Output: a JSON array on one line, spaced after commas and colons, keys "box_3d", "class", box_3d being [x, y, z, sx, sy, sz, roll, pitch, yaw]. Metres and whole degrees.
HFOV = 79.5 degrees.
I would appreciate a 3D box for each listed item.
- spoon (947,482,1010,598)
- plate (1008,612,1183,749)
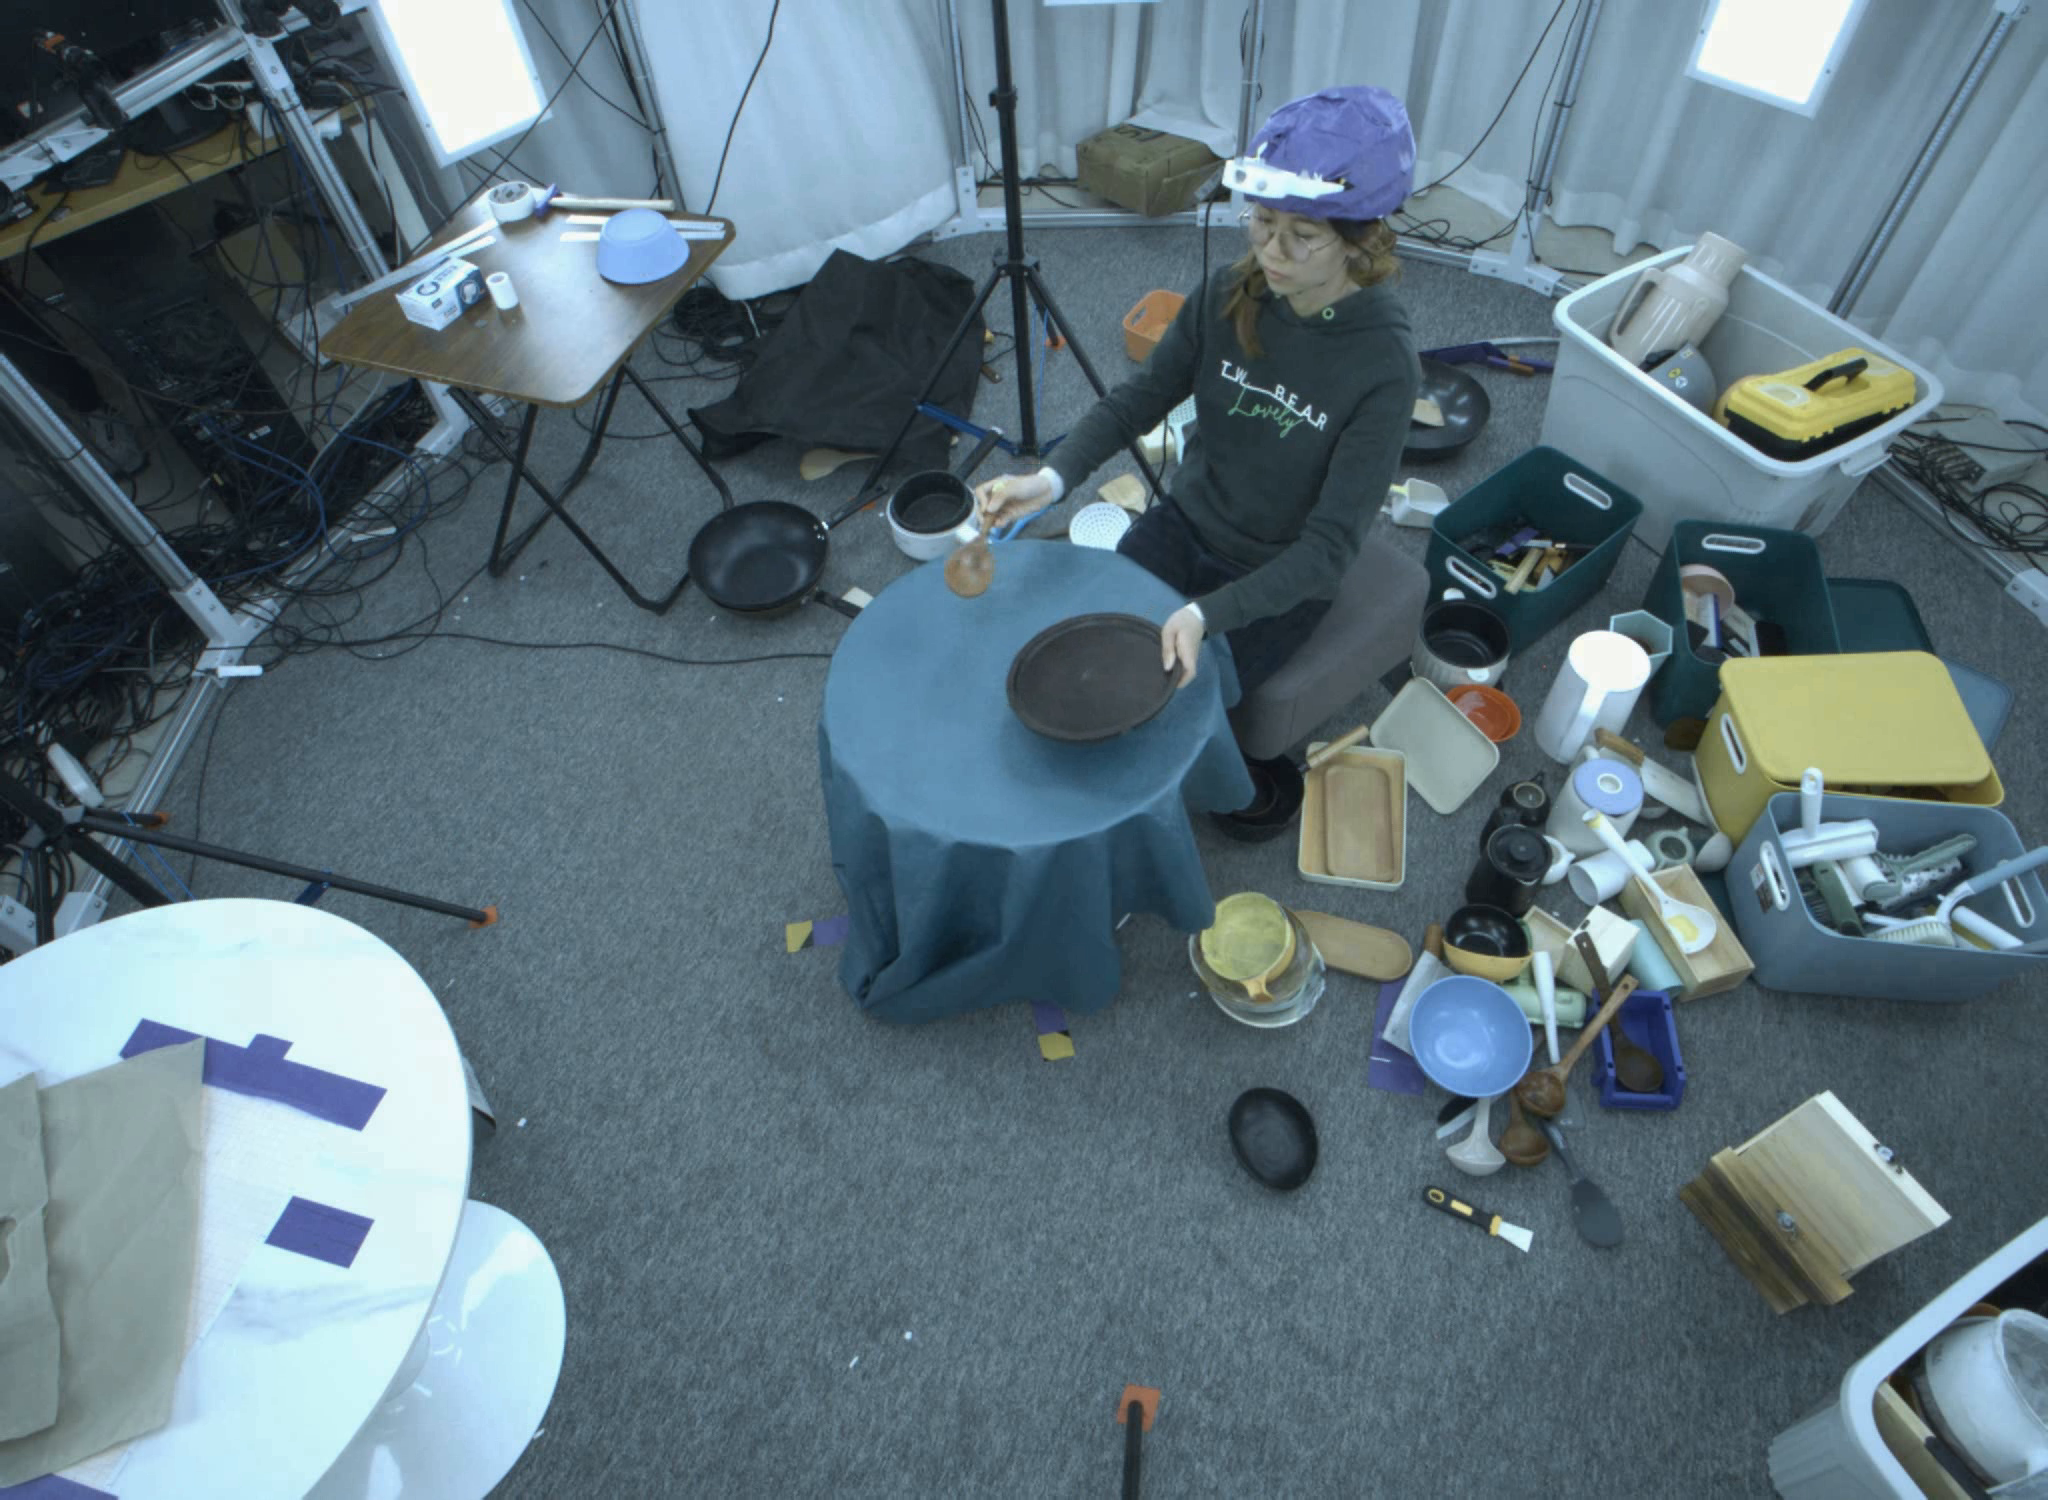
[{"box_3d": [-0.059, -0.313, 1.819, 0.076, 0.017, 0.215, 19, 65, -5], "class": "spoon"}, {"box_3d": [0.103, -0.099, 1.763, 0.253, 0.029, 0.252, -7, 50, 9], "class": "plate"}]
